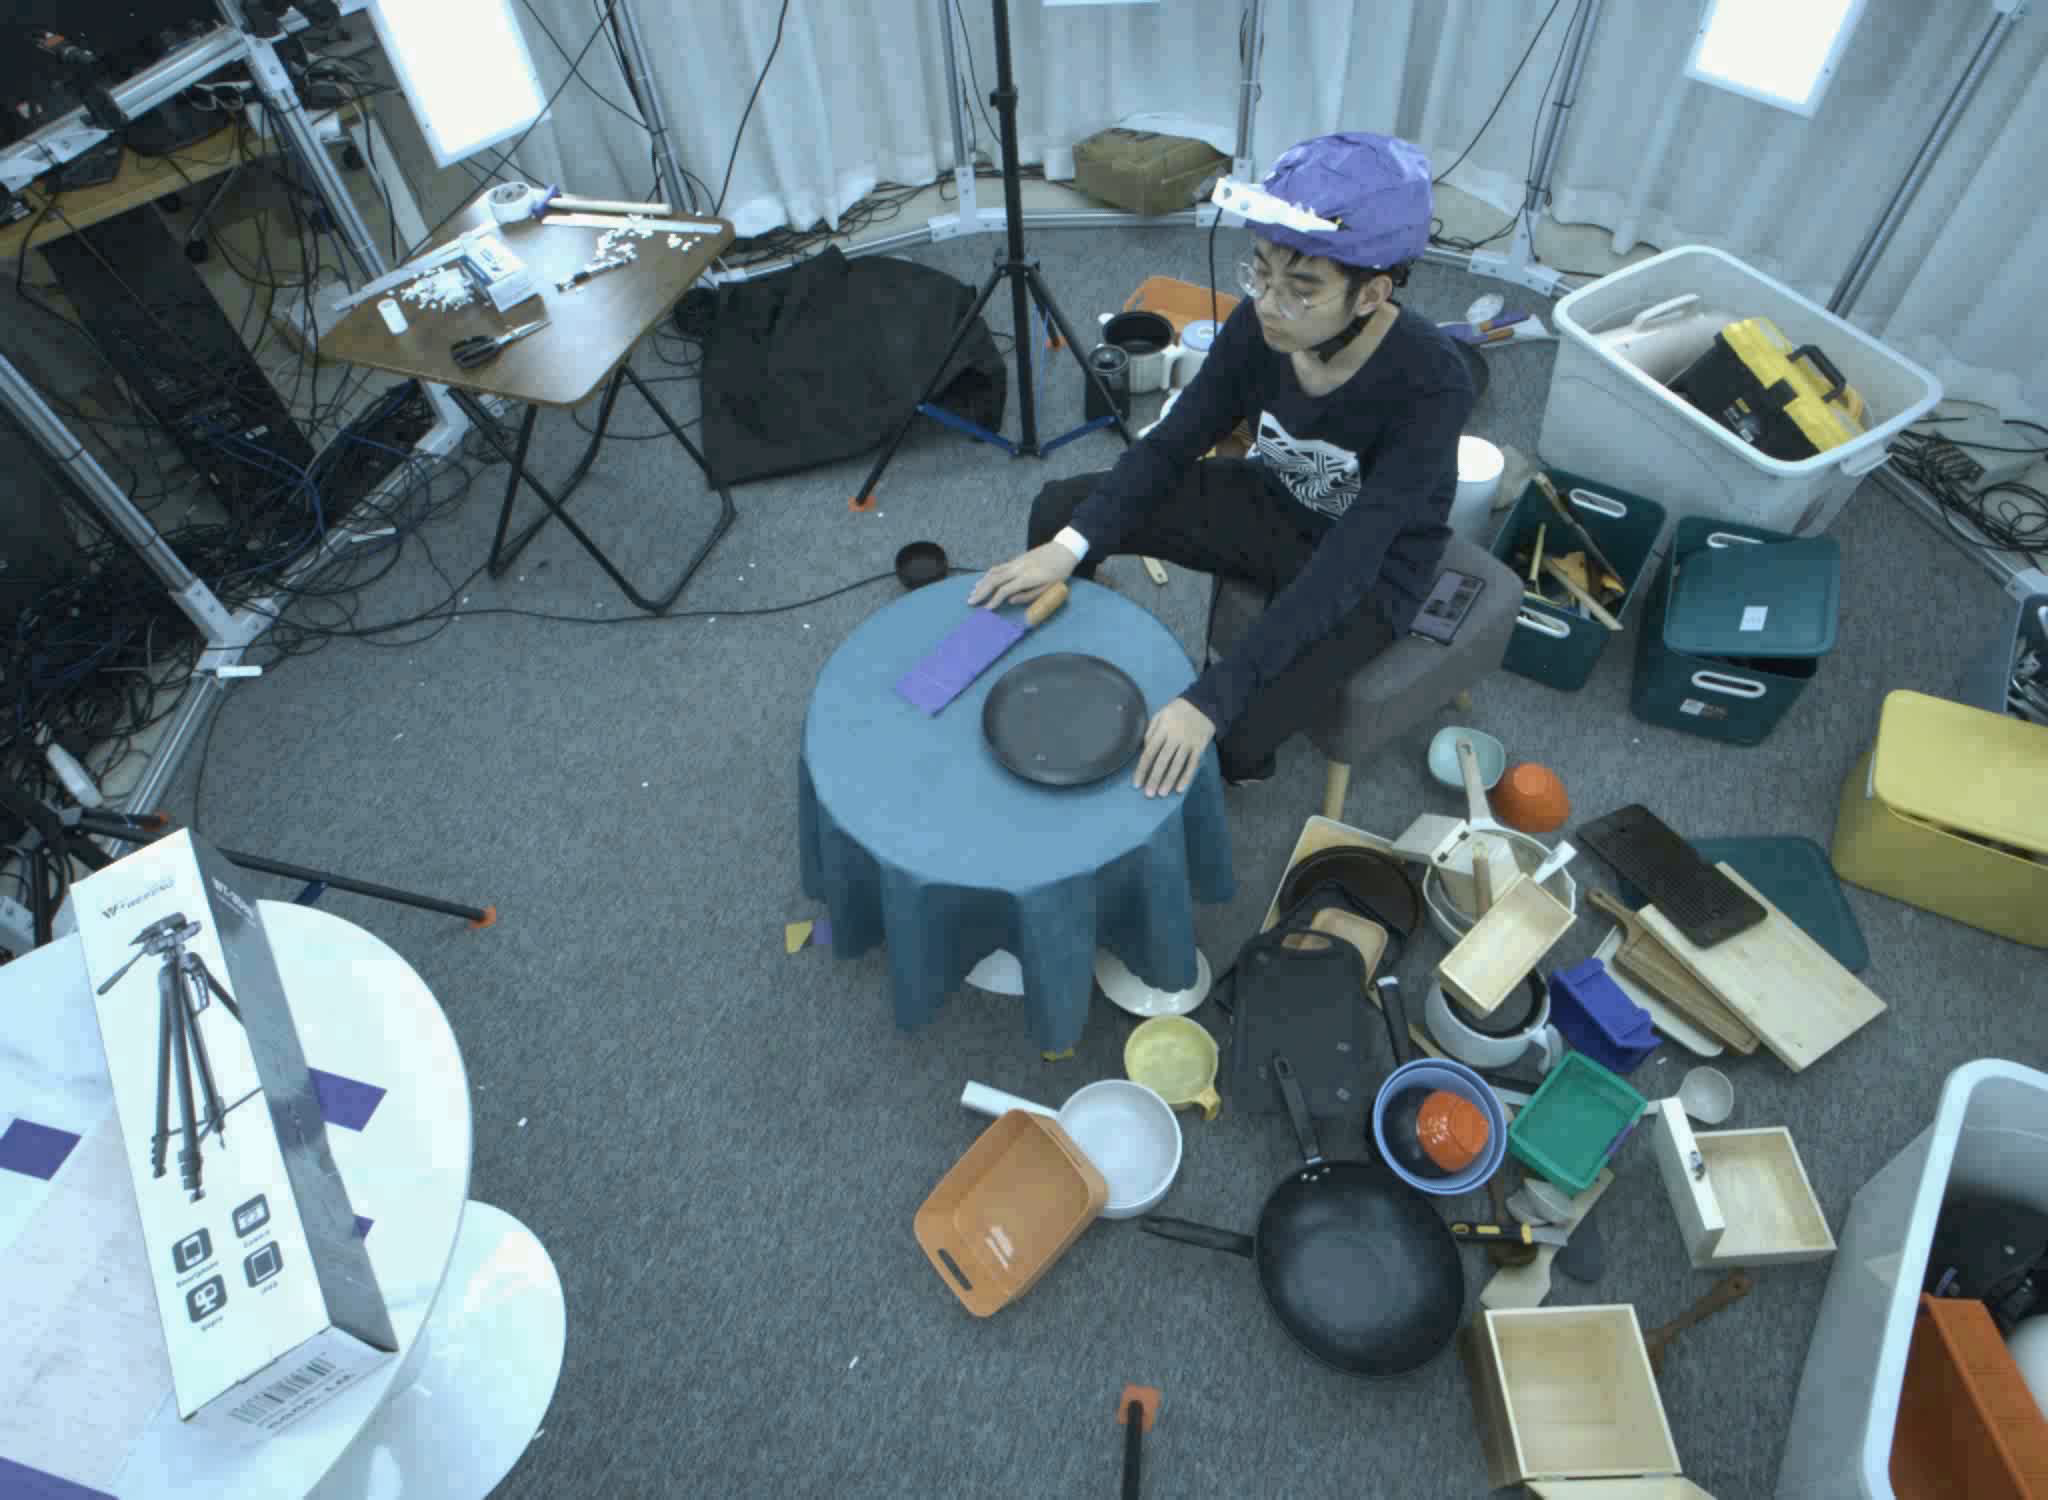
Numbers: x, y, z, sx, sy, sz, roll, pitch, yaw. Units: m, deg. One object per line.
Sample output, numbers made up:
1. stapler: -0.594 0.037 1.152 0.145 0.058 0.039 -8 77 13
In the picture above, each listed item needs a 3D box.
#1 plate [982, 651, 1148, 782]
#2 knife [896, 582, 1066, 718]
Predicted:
1. plate: 0.059 -0.047 1.813 0.244 0.023 0.242 0 54 1
2. knife: -0.068 -0.174 1.904 0.102 0.032 0.317 35 63 23
